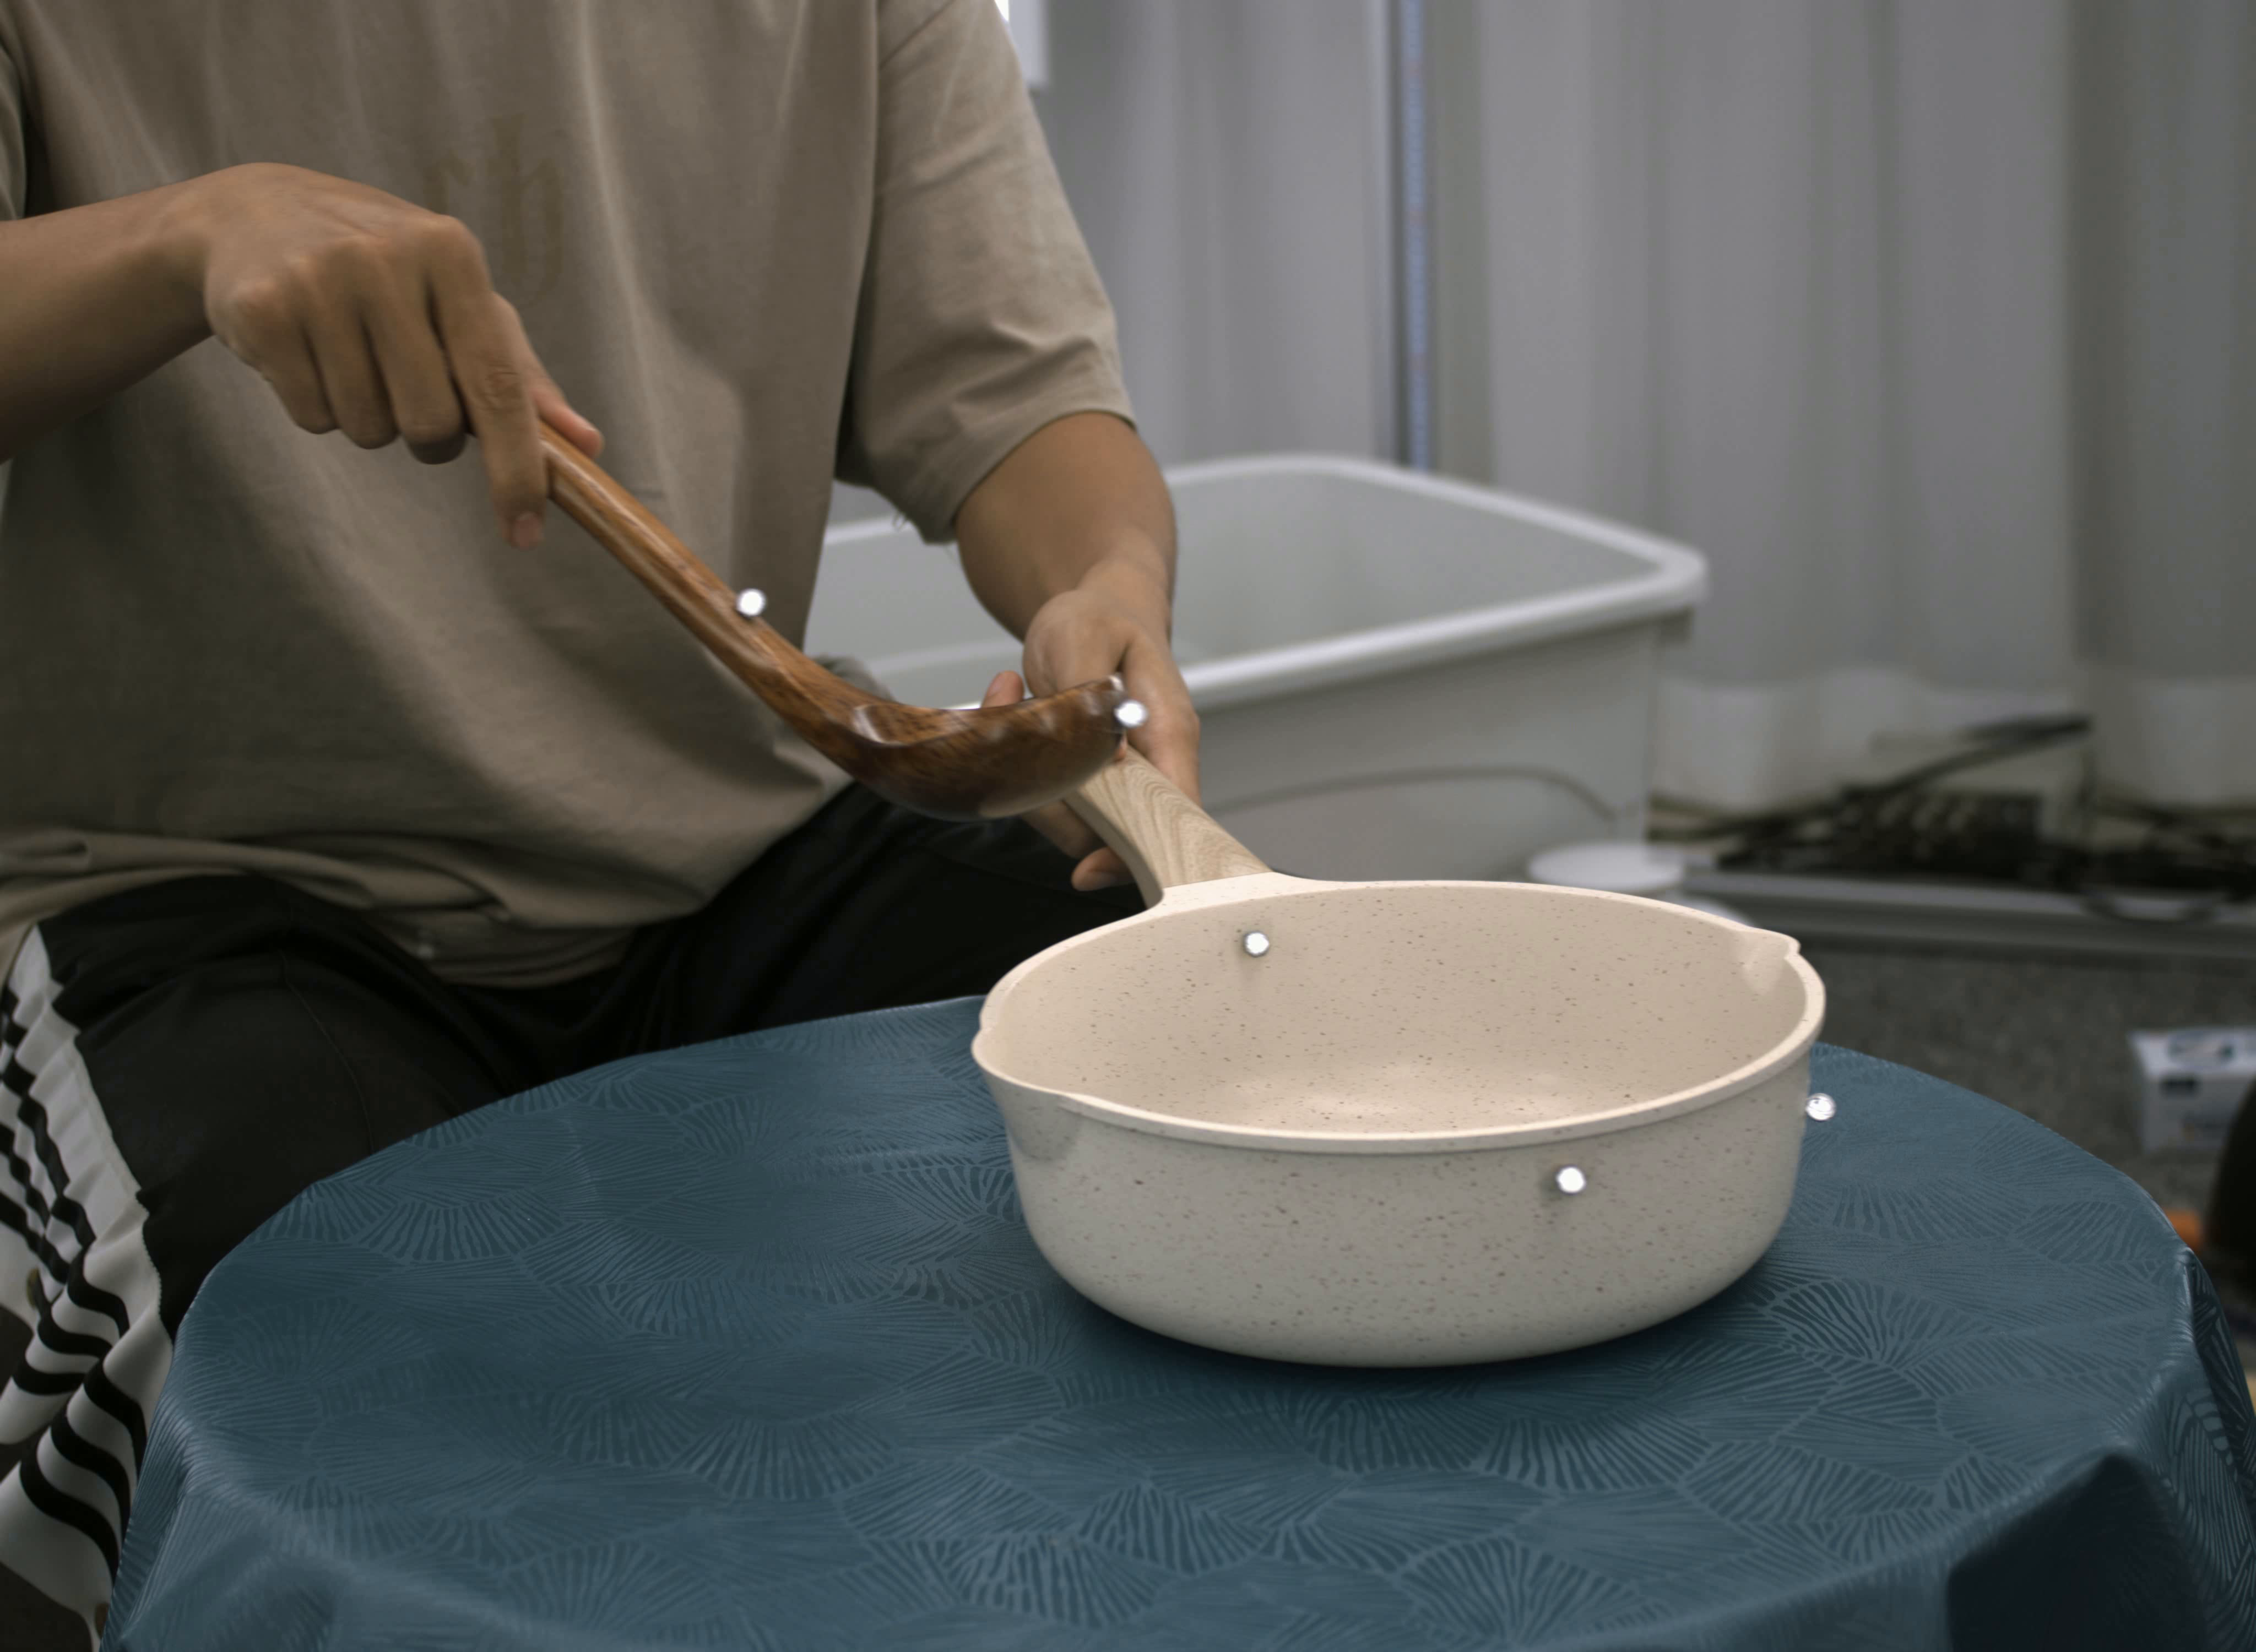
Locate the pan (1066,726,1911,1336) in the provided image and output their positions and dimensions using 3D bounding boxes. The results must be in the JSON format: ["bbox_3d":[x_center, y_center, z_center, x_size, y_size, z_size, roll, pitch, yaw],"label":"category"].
[{"bbox_3d":[0.075,0.054,1.719,0.262,0.101,0.438,-10,16,-20],"label":"pan"}]

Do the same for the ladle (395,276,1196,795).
[{"bbox_3d":[-0.098,-0.100,1.609,0.275,0.076,0.082,41,15,14],"label":"ladle"}]
